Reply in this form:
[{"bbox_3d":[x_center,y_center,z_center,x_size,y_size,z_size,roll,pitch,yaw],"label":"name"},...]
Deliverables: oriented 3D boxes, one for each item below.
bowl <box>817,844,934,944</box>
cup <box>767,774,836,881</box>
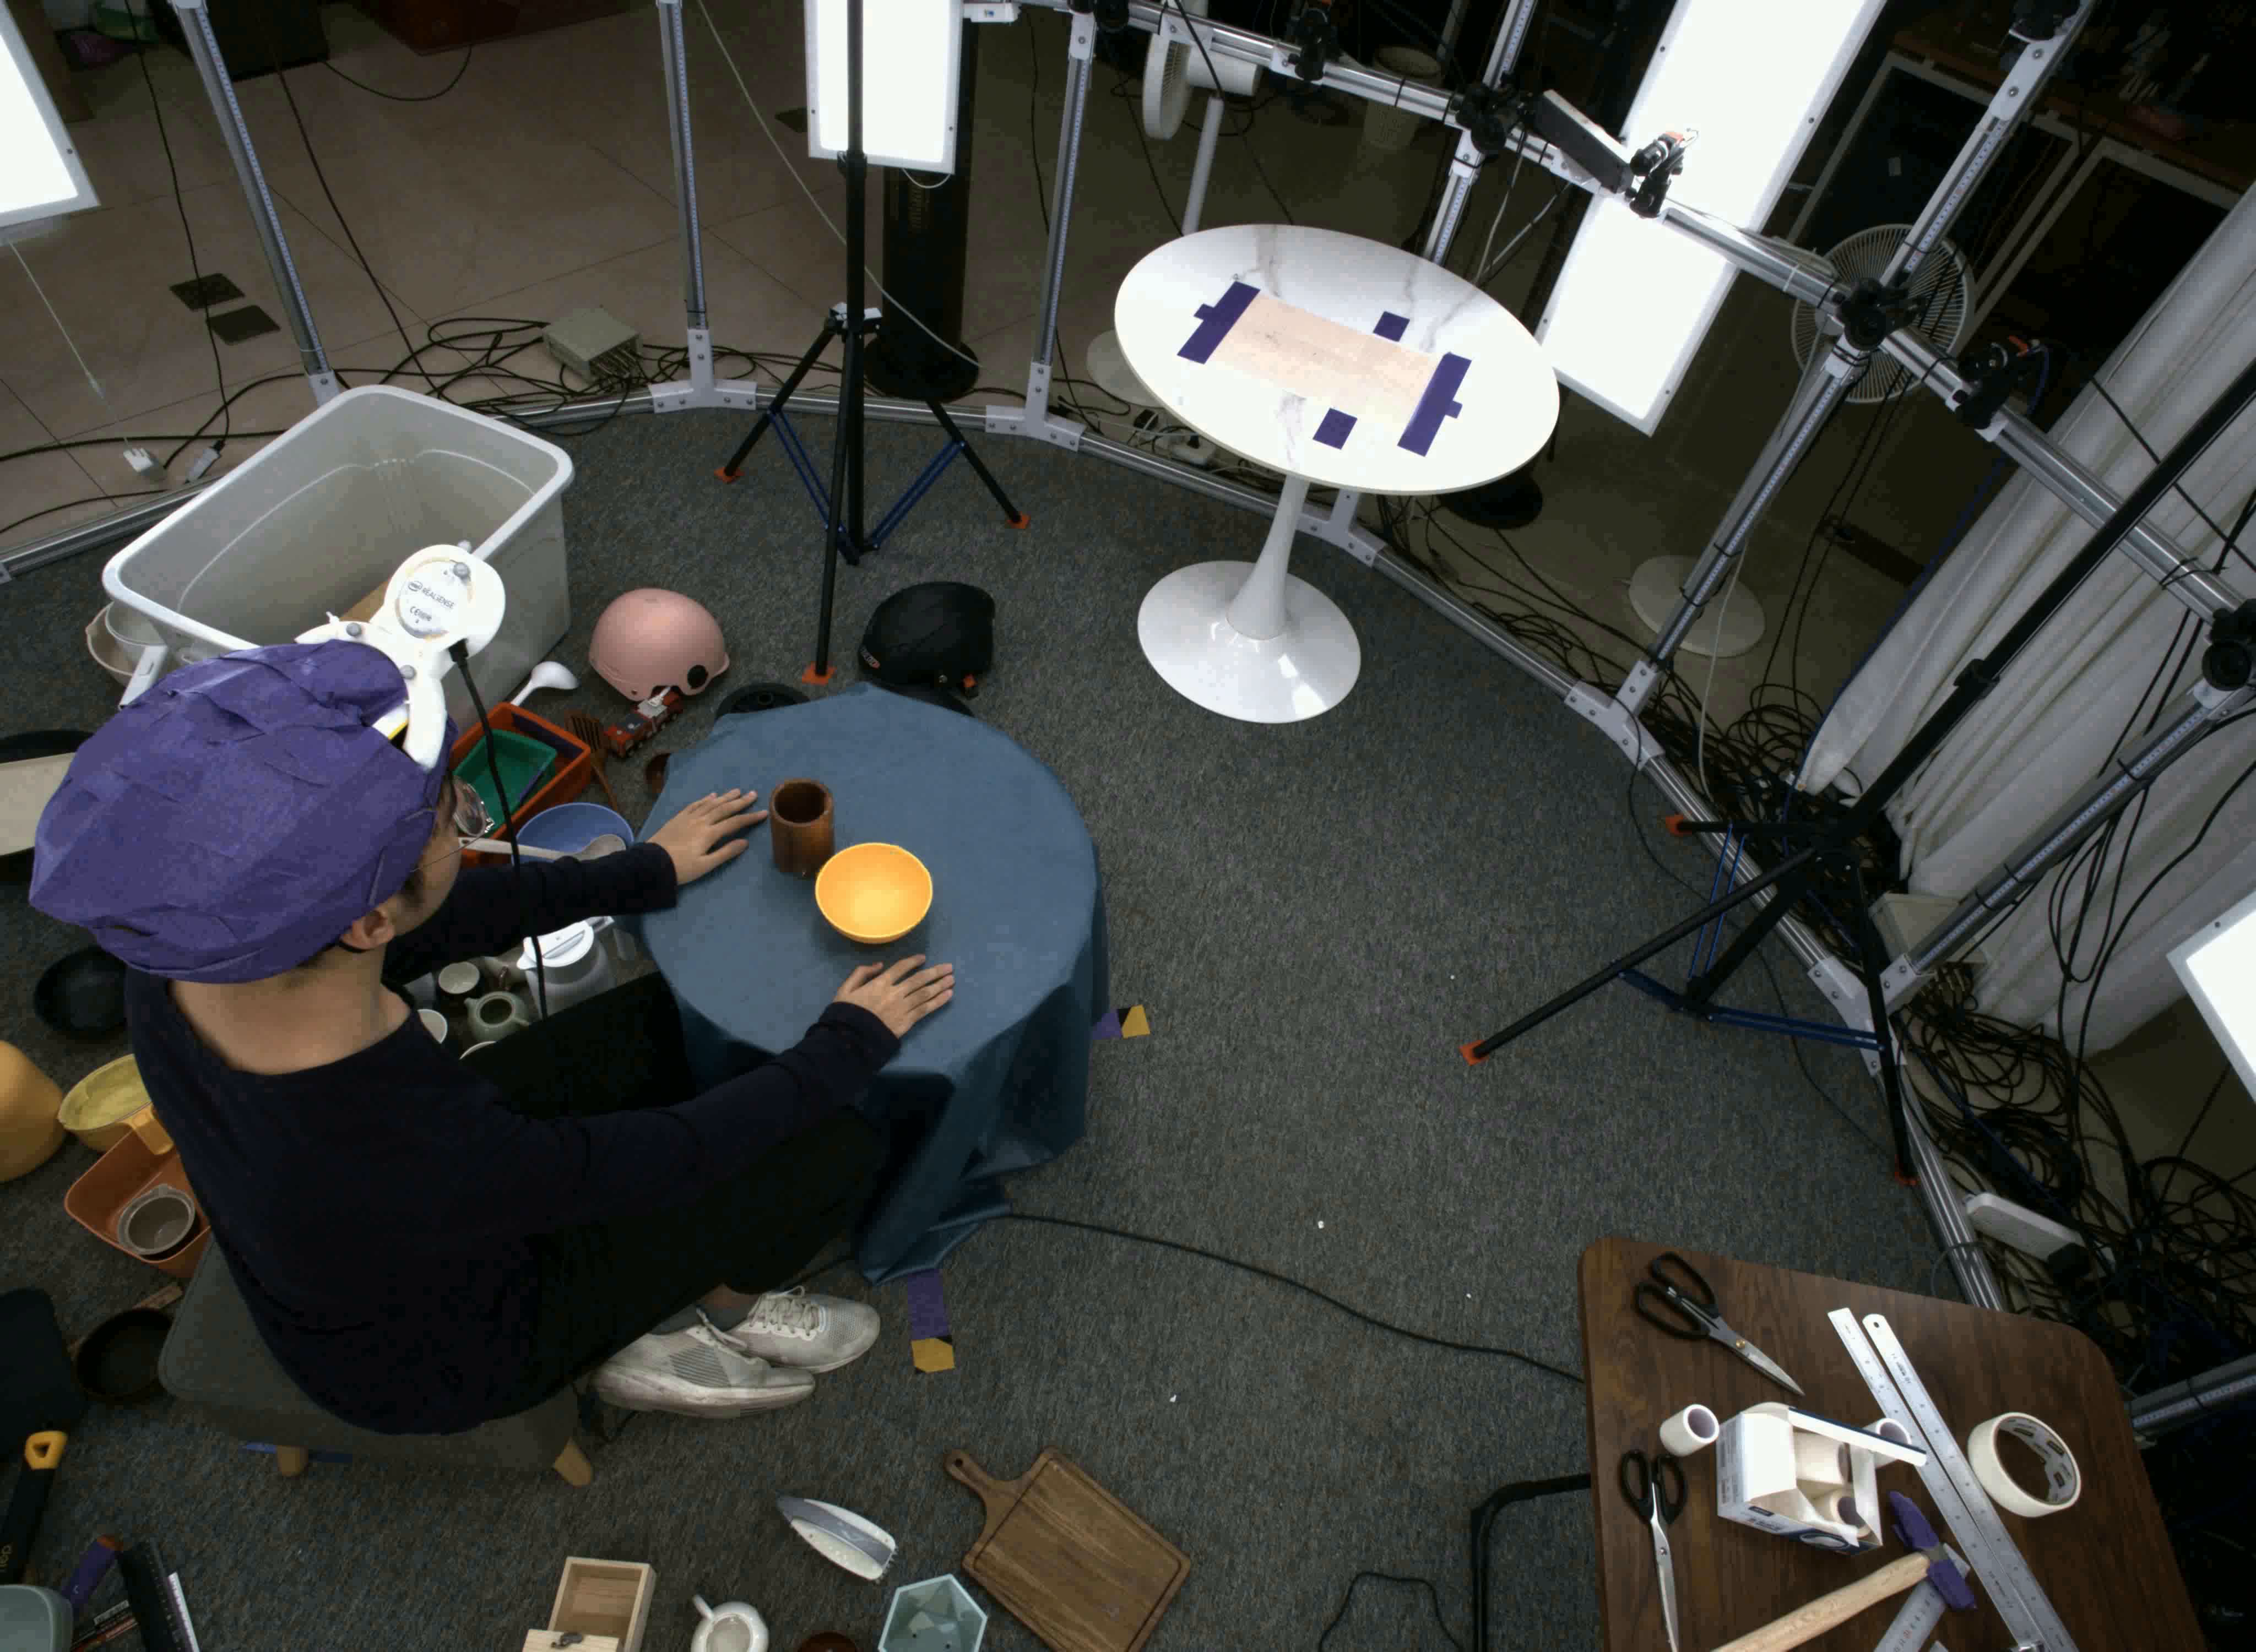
[{"bbox_3d":[-0.319,0.095,1.642,0.145,0.061,0.143,7,52,-7],"label":"bowl"},{"bbox_3d":[-0.414,0.003,1.651,0.087,0.121,0.086,6,52,-6],"label":"cup"}]
